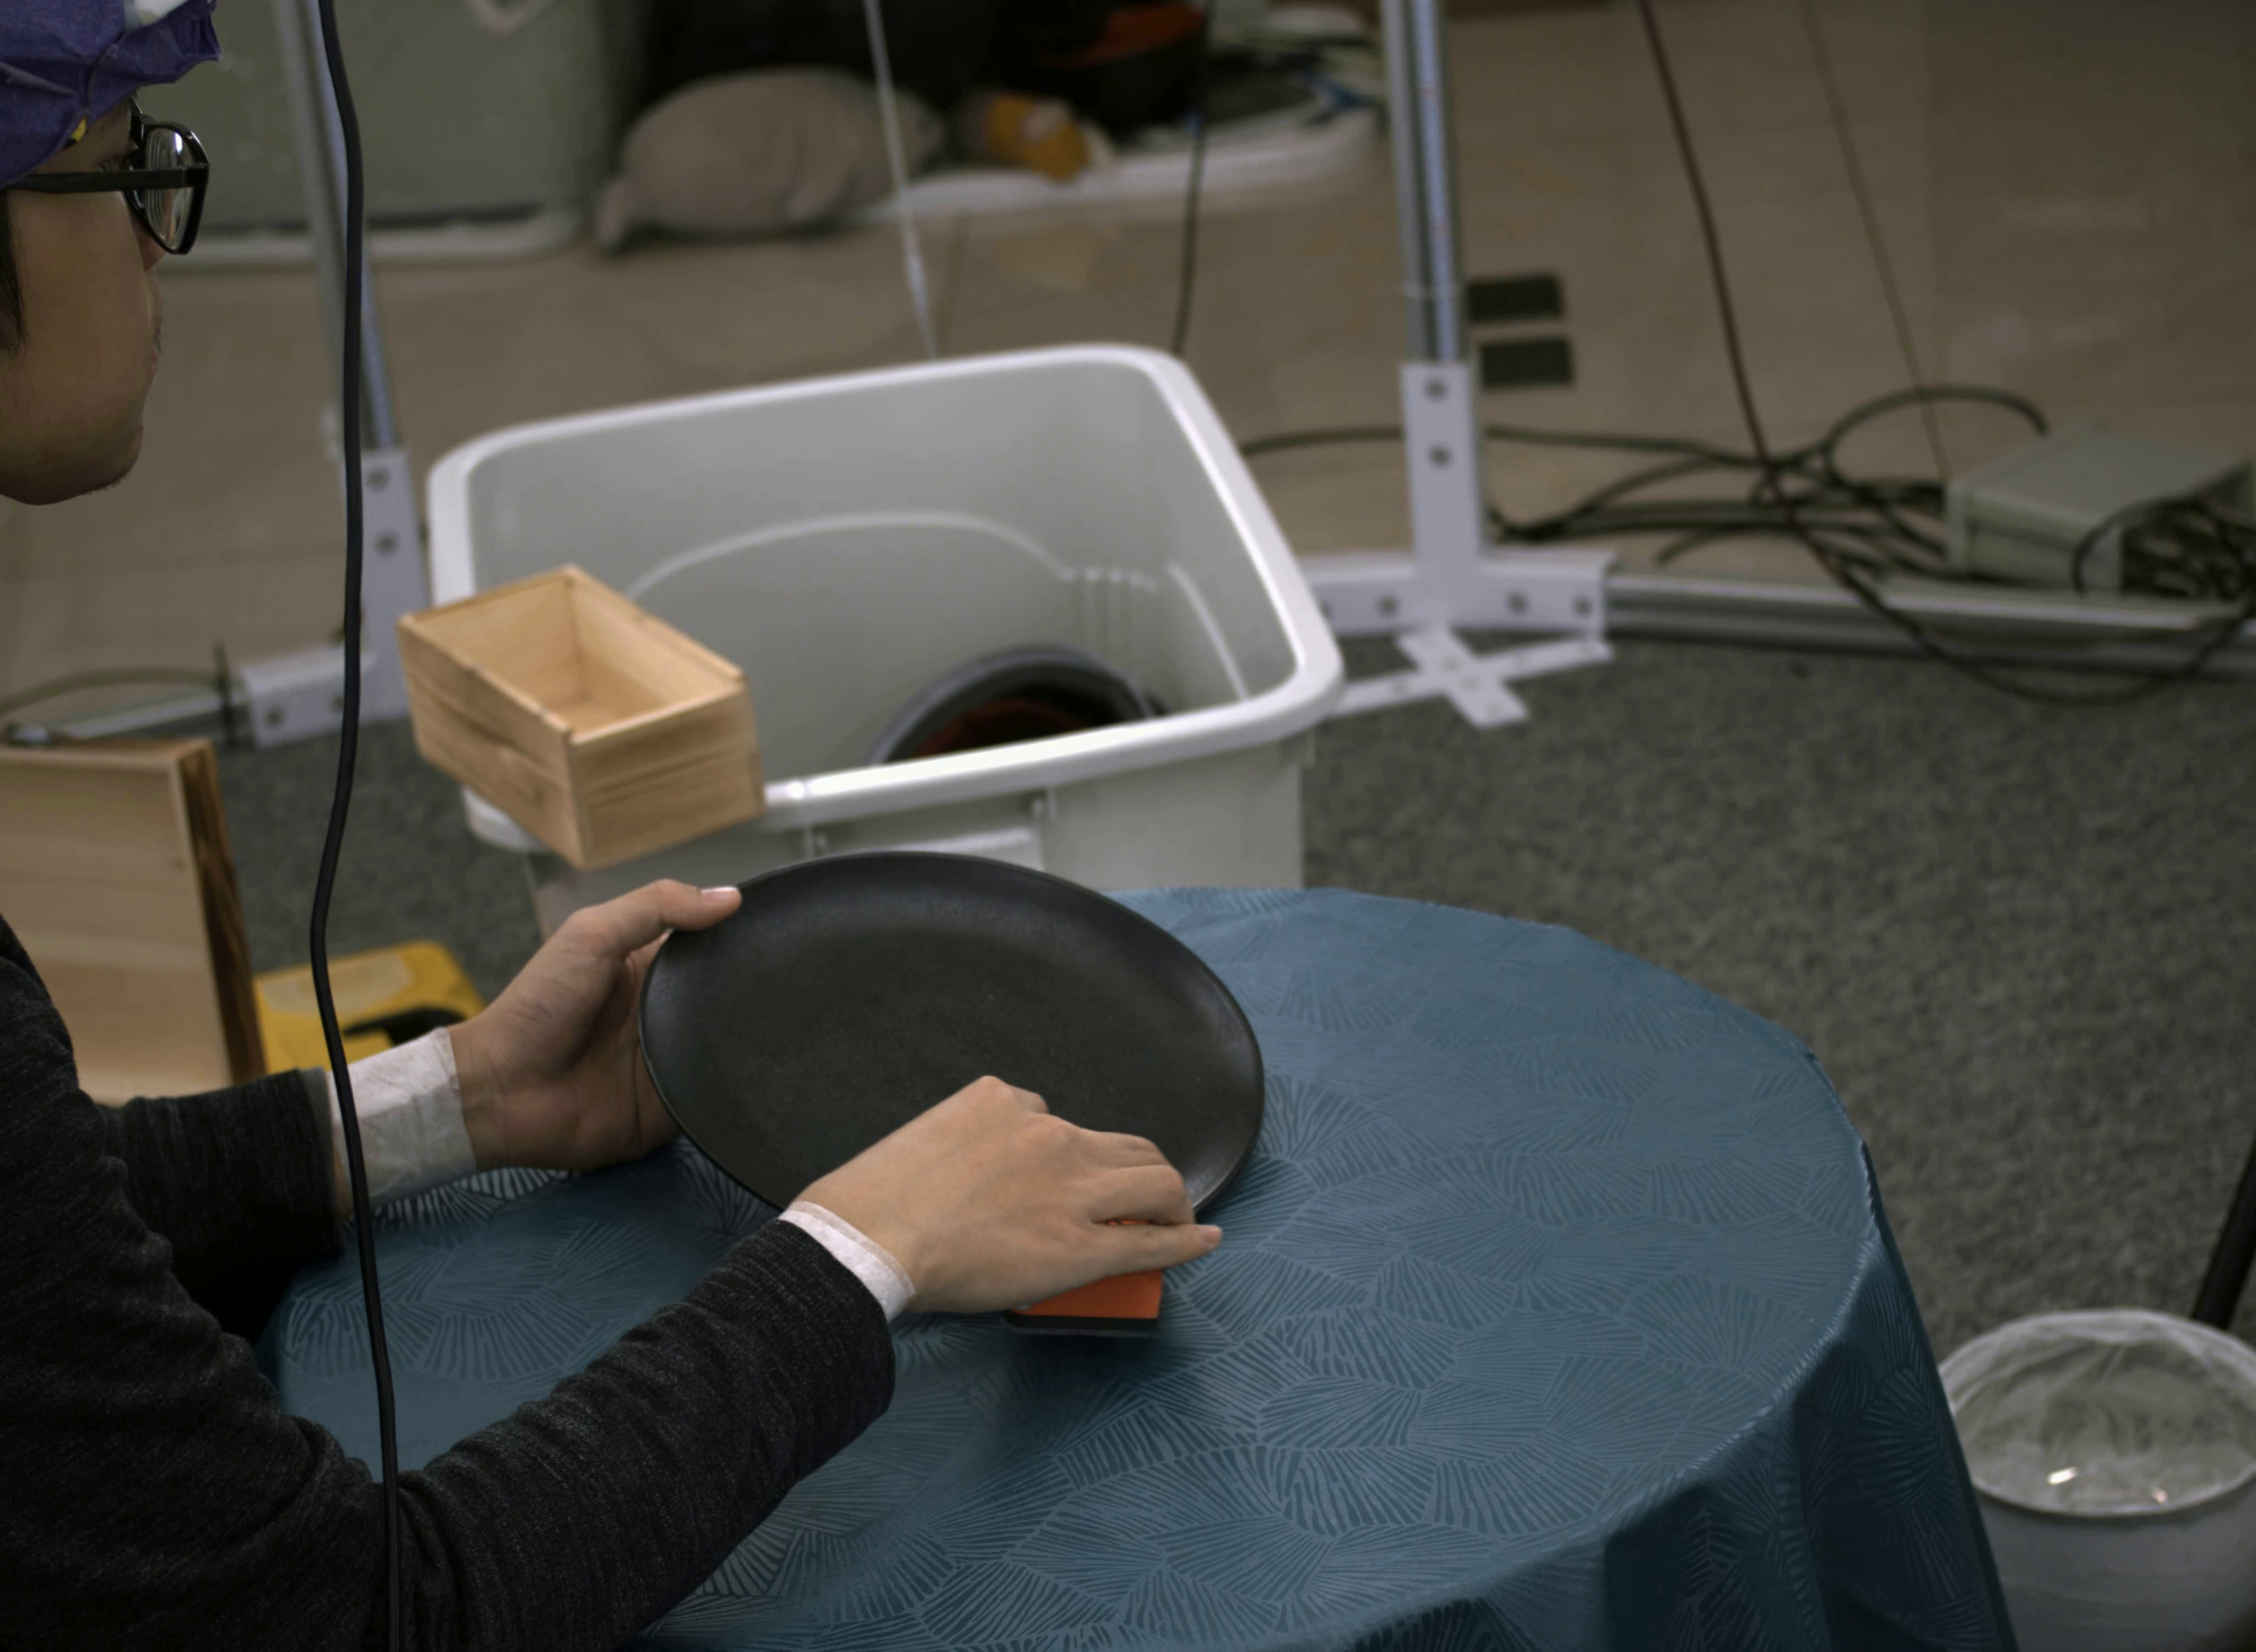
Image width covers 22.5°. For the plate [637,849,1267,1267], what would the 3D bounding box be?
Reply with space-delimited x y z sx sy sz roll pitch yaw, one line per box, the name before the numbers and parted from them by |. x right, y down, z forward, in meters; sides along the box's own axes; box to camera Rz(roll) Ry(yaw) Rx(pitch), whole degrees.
plate | -0.068 0.092 2.168 0.244 0.024 0.240 7 38 -6

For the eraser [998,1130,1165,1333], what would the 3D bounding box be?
eraser | -0.017 0.147 2.070 0.059 0.023 0.106 -5 27 0
